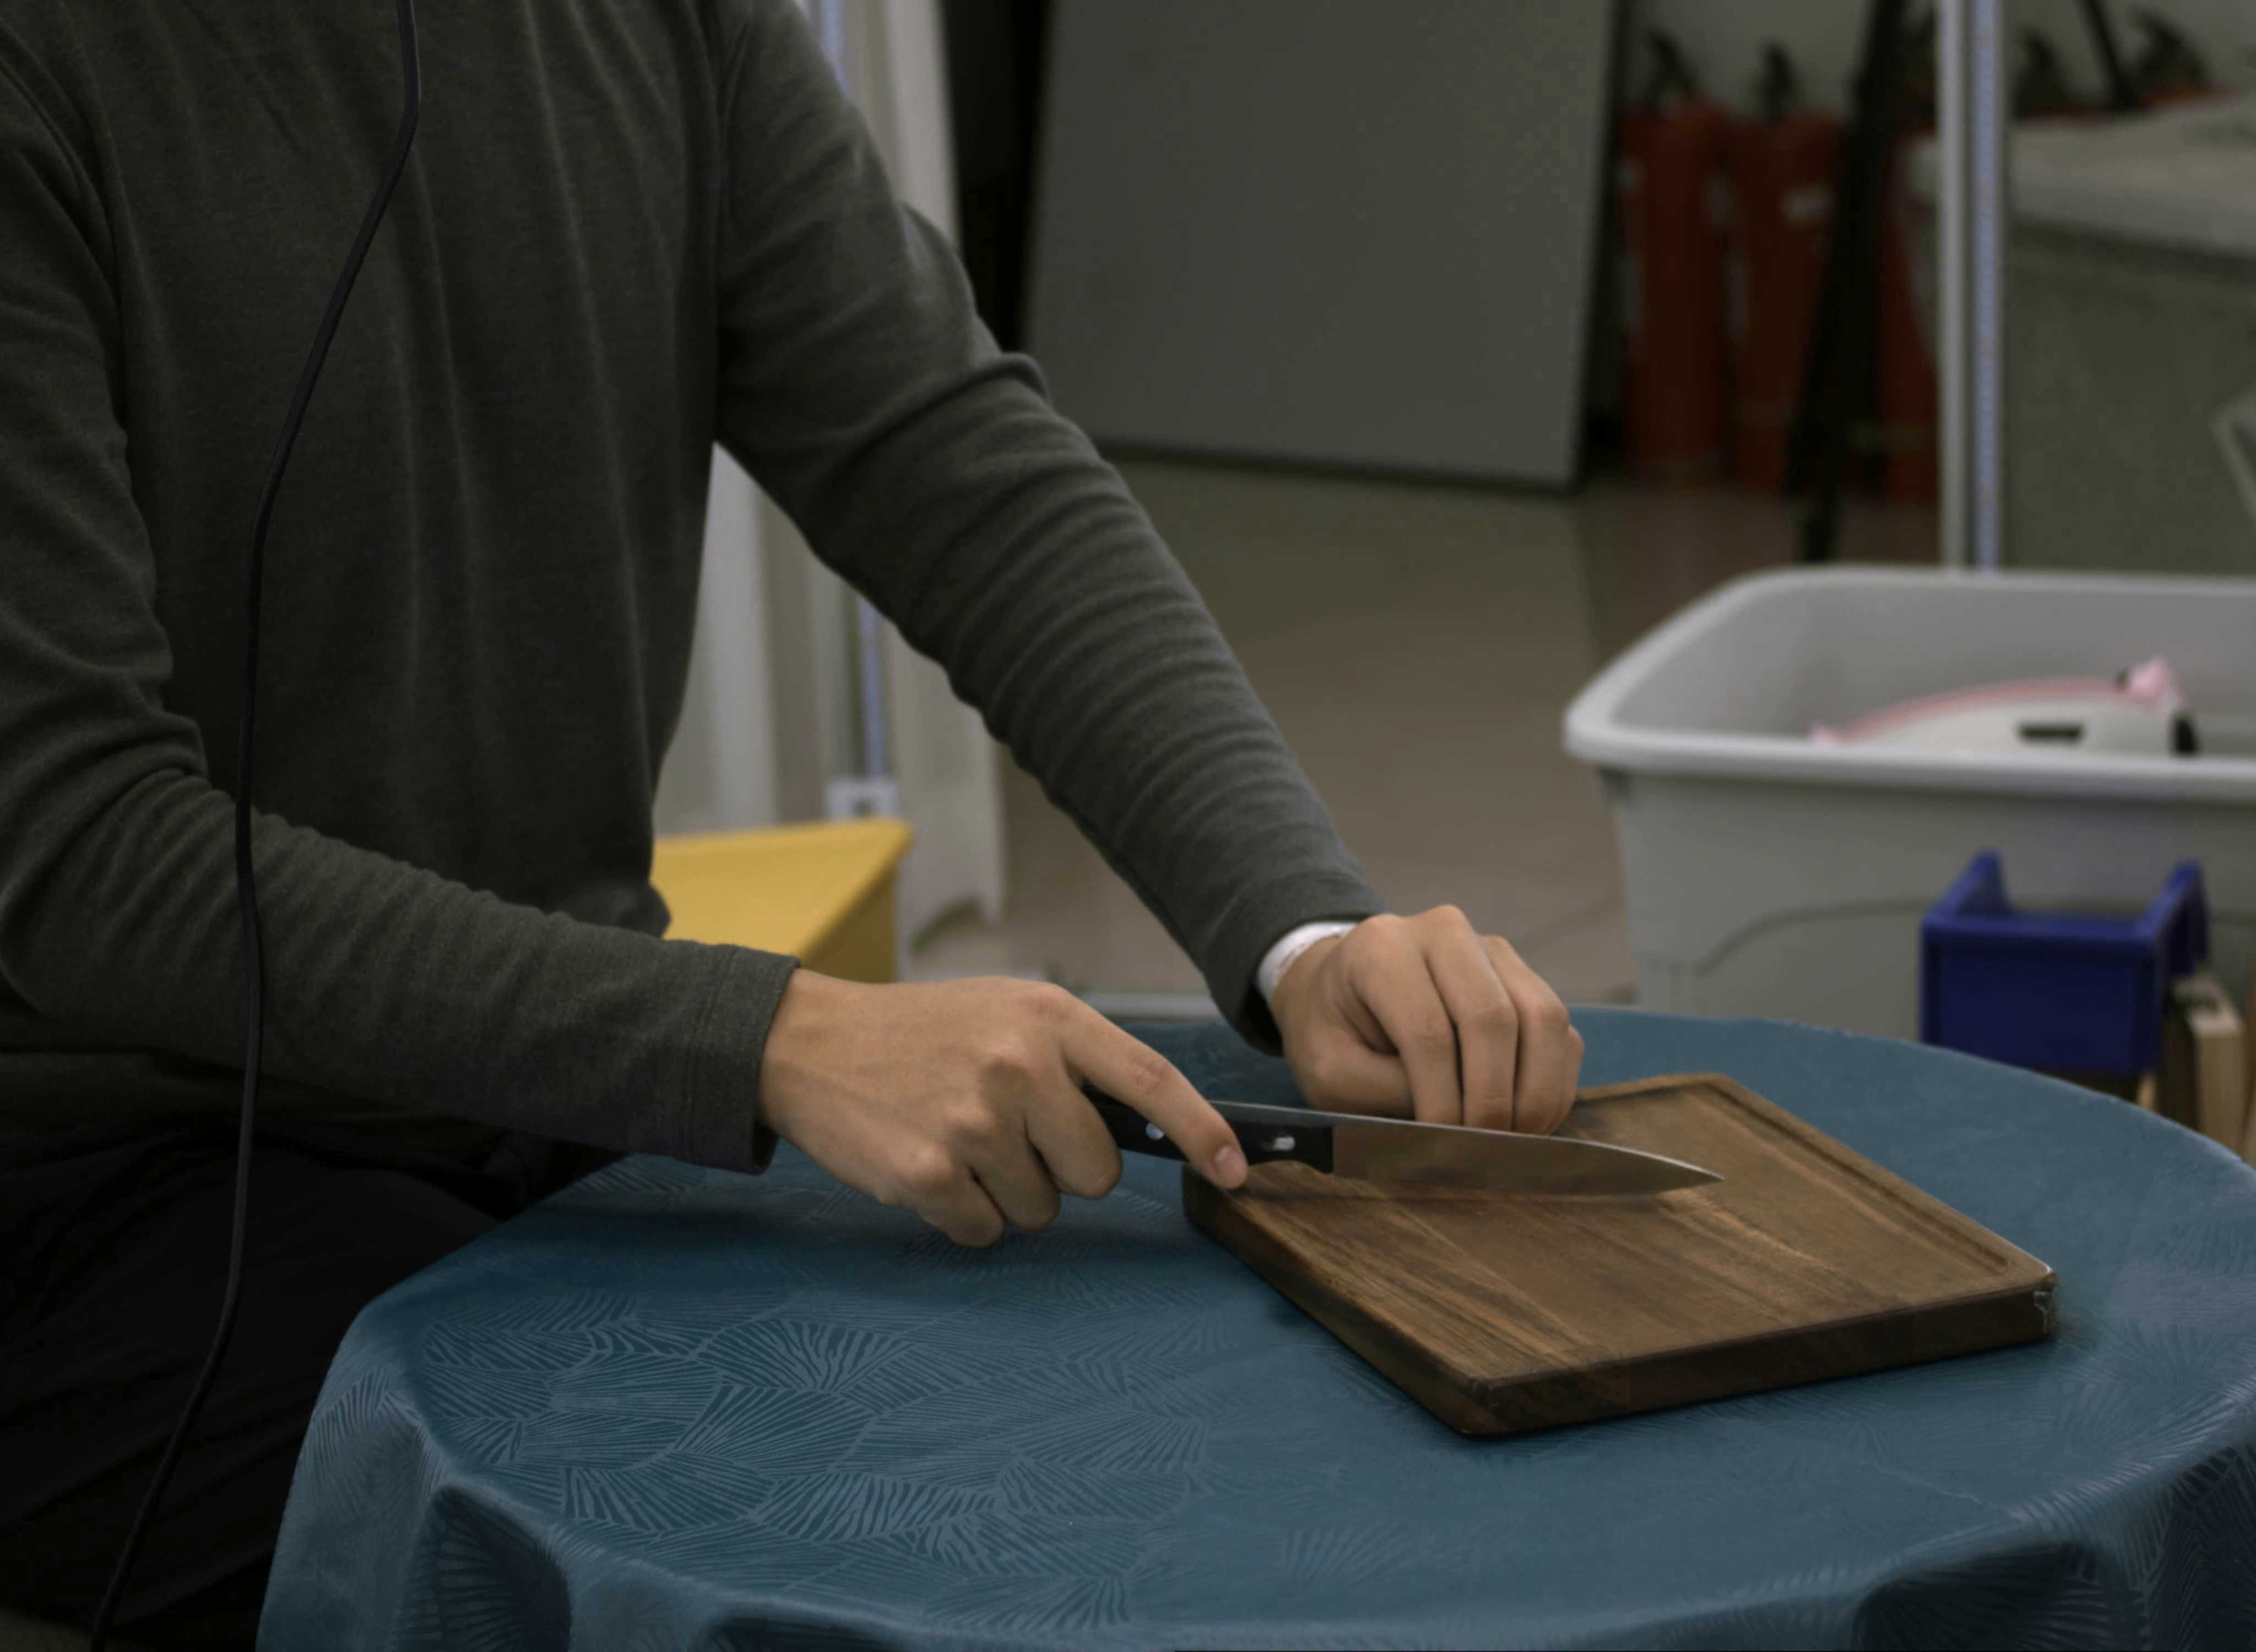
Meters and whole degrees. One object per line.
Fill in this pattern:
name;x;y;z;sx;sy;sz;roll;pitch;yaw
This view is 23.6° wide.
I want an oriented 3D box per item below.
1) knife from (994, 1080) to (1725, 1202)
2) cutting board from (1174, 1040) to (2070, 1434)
knife;0.072;0.100;1.699;0.237;0.025;0.016;6;21;15
cutting board;0.130;0.118;1.707;0.197;0.023;0.355;-8;14;-18
